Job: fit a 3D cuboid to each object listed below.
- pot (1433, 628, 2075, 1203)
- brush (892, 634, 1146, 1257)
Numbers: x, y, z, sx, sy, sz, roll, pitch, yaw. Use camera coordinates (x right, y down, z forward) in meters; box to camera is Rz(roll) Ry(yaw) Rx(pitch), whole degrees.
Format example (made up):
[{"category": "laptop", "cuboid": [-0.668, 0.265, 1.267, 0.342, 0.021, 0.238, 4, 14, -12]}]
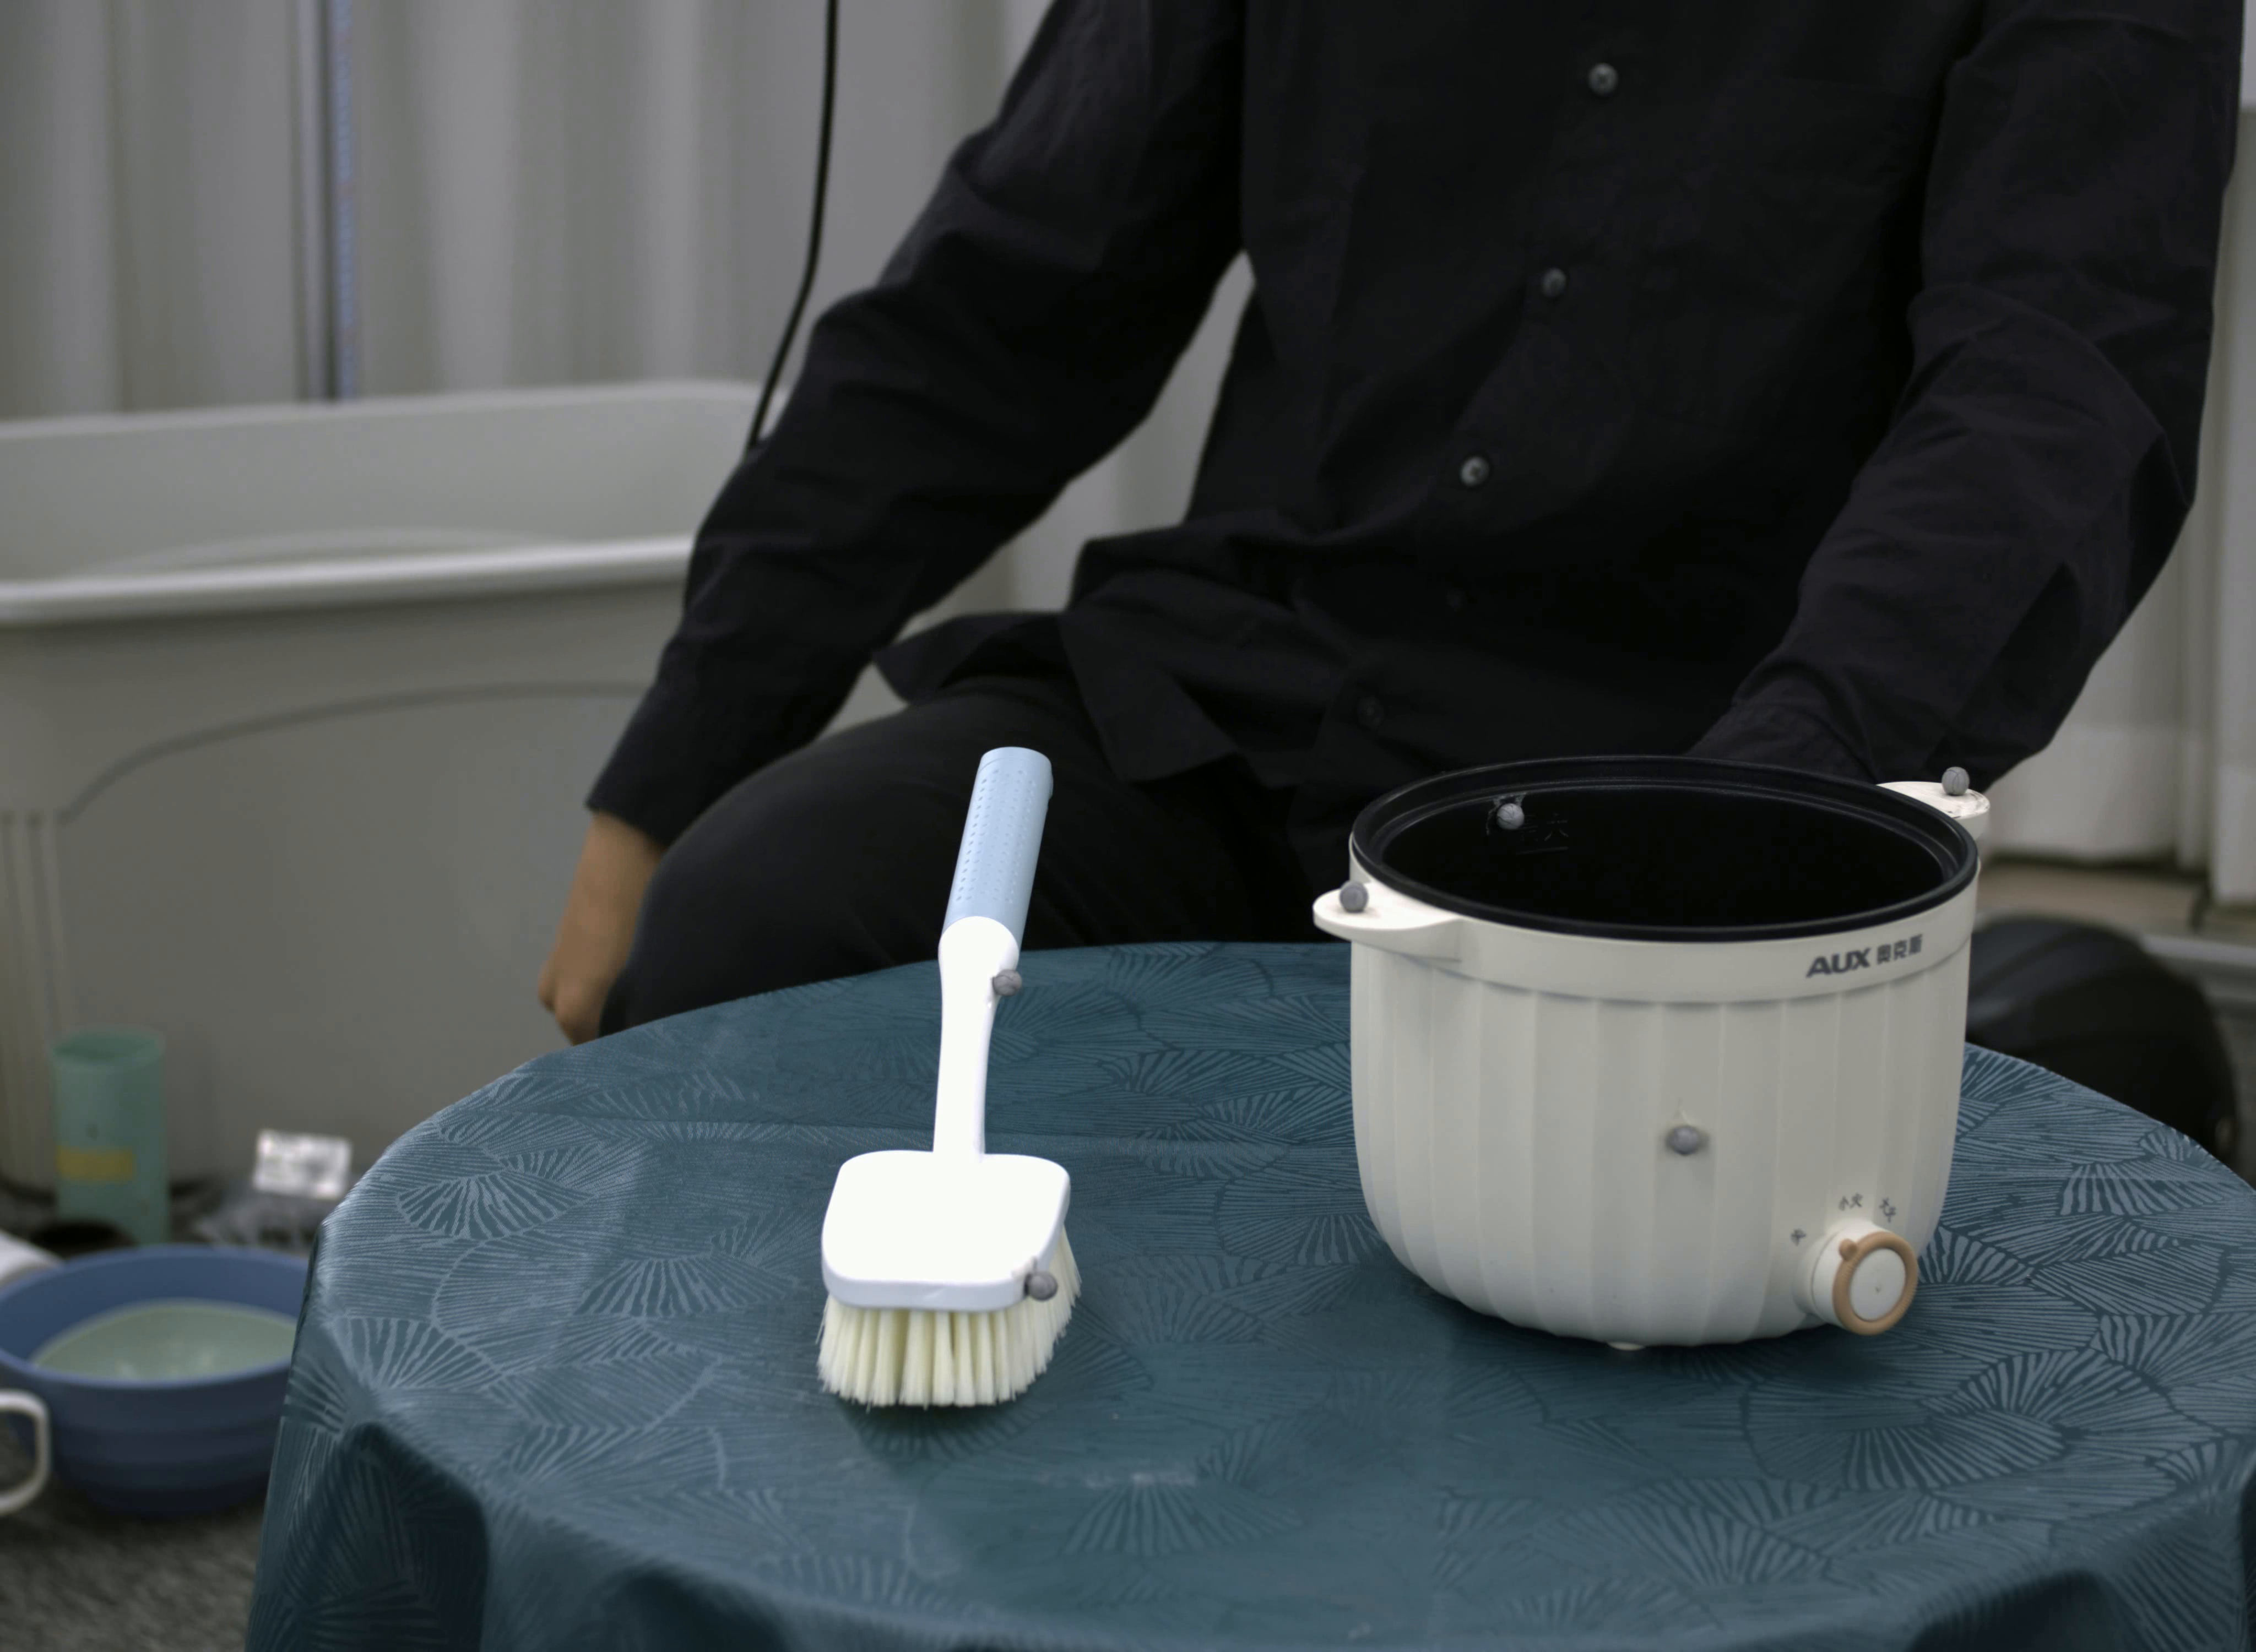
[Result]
[{"category": "pot", "cuboid": [0.192, 0.028, 1.570, 0.241, 0.144, 0.188, -12, 18, -34]}, {"category": "brush", "cuboid": [-0.023, 0.049, 1.609, 0.083, 0.084, 0.323, 35, 25, -13]}]
